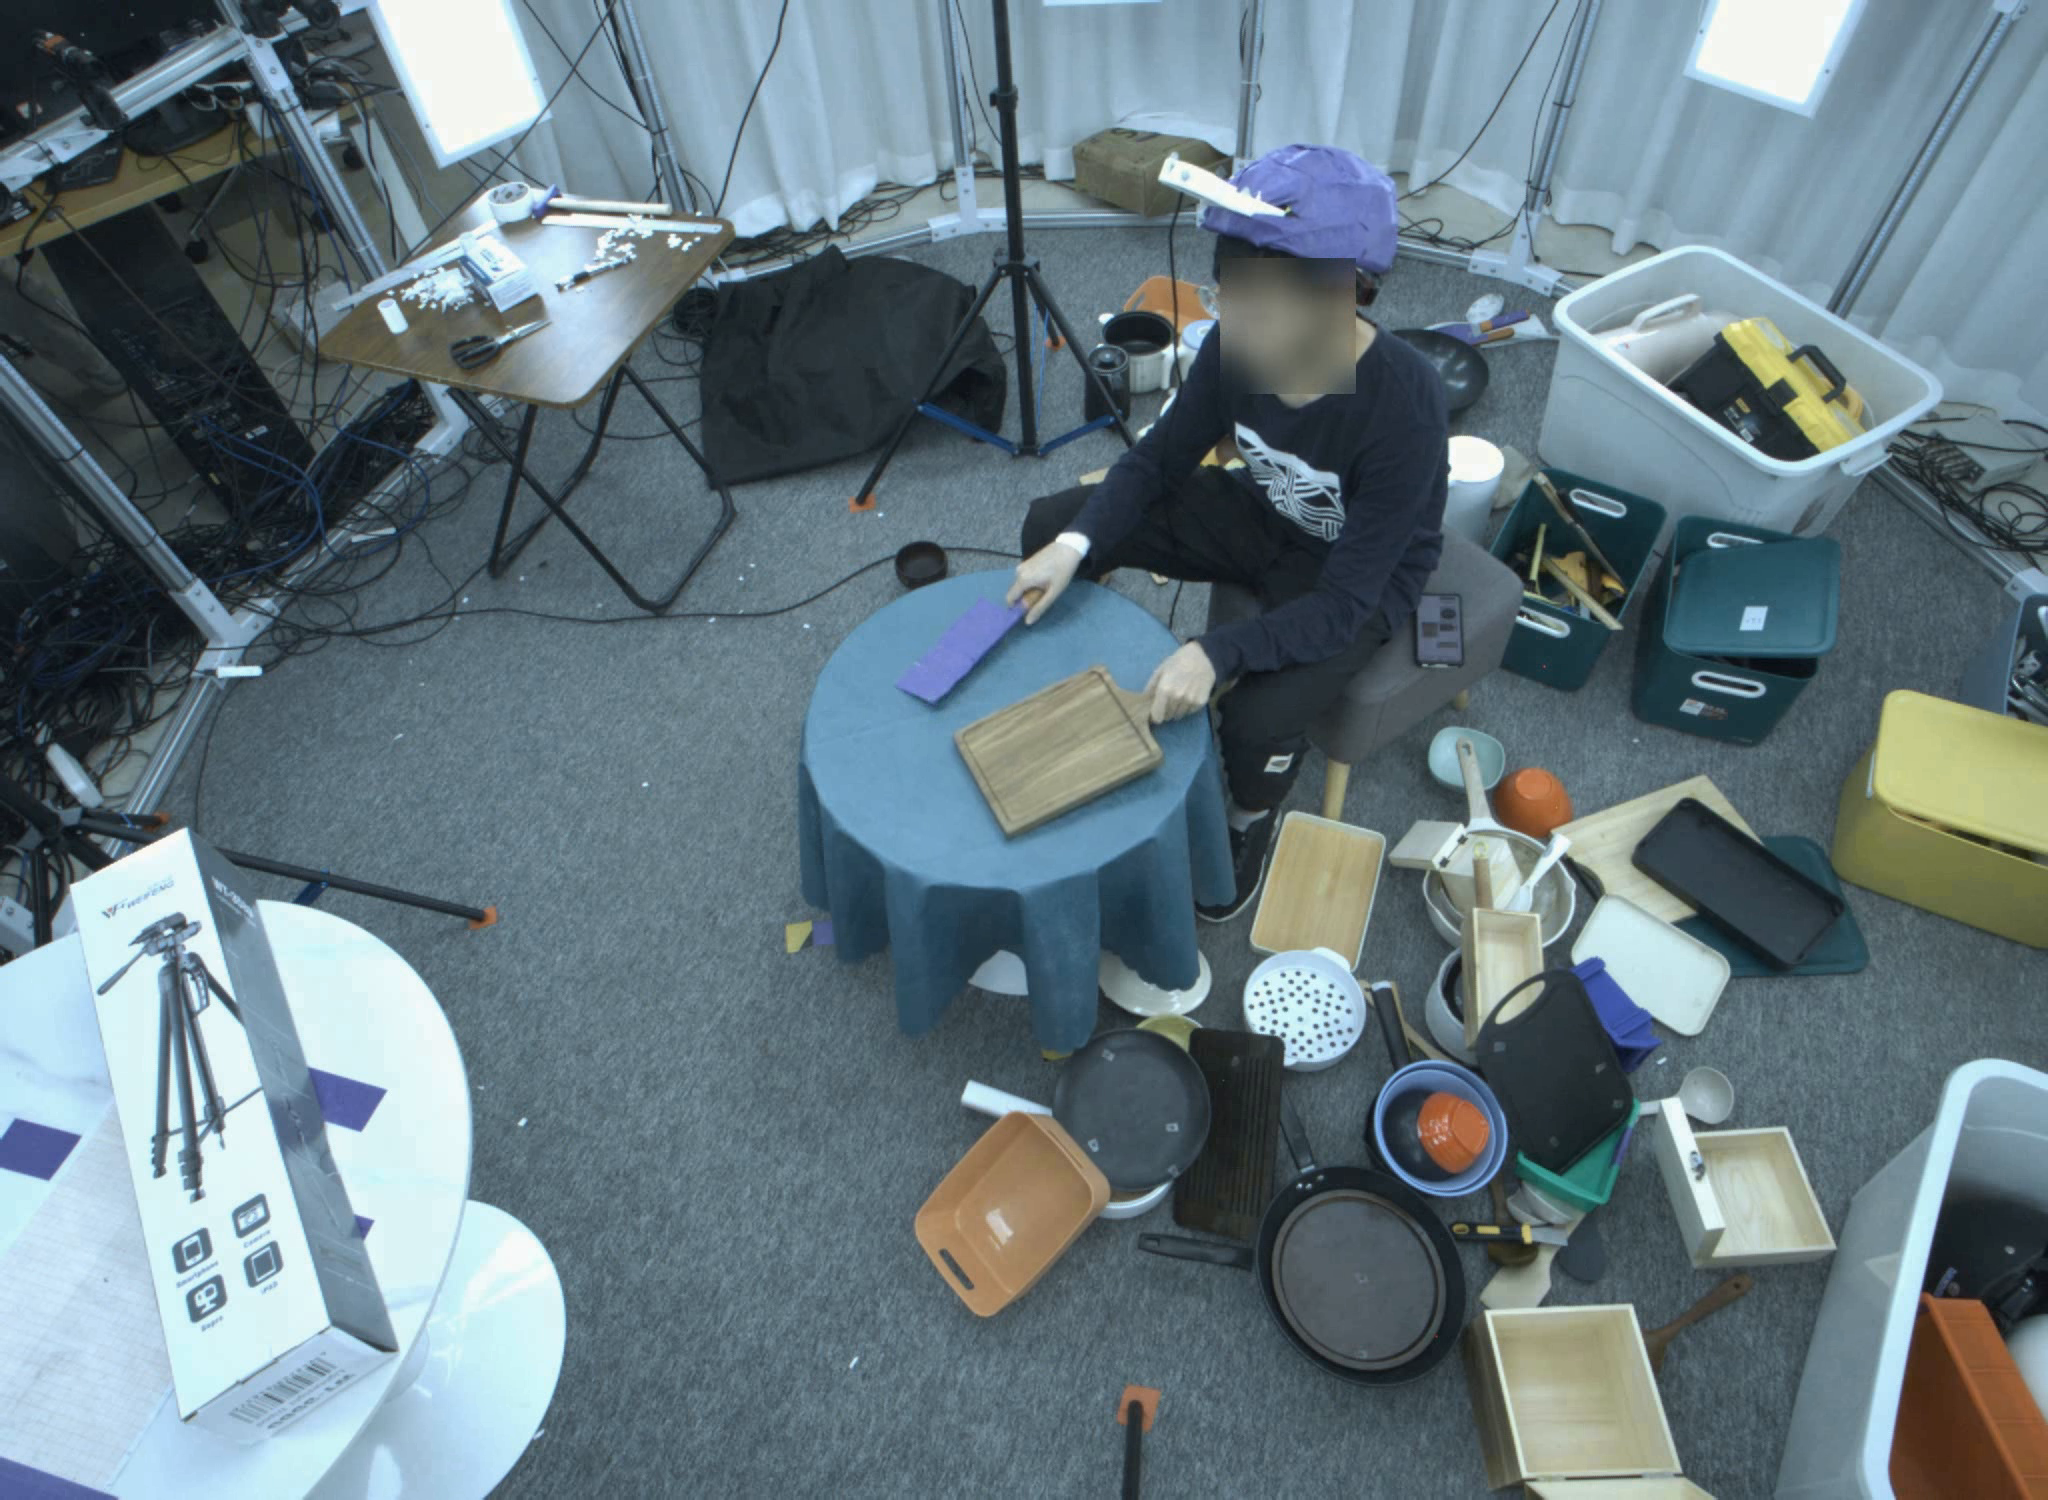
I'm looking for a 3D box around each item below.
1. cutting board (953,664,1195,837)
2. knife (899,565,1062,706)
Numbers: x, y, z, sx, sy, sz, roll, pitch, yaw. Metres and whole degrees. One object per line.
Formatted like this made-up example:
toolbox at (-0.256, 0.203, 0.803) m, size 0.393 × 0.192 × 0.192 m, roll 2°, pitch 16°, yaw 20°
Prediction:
cutting board at (0.092, -0.025, 1.776) m, size 0.354 × 0.023 × 0.197 m, roll -25°, pitch 58°, yaw -9°
knife at (-0.070, -0.191, 1.904) m, size 0.102 × 0.032 × 0.317 m, roll 28°, pitch 62°, yaw 29°
